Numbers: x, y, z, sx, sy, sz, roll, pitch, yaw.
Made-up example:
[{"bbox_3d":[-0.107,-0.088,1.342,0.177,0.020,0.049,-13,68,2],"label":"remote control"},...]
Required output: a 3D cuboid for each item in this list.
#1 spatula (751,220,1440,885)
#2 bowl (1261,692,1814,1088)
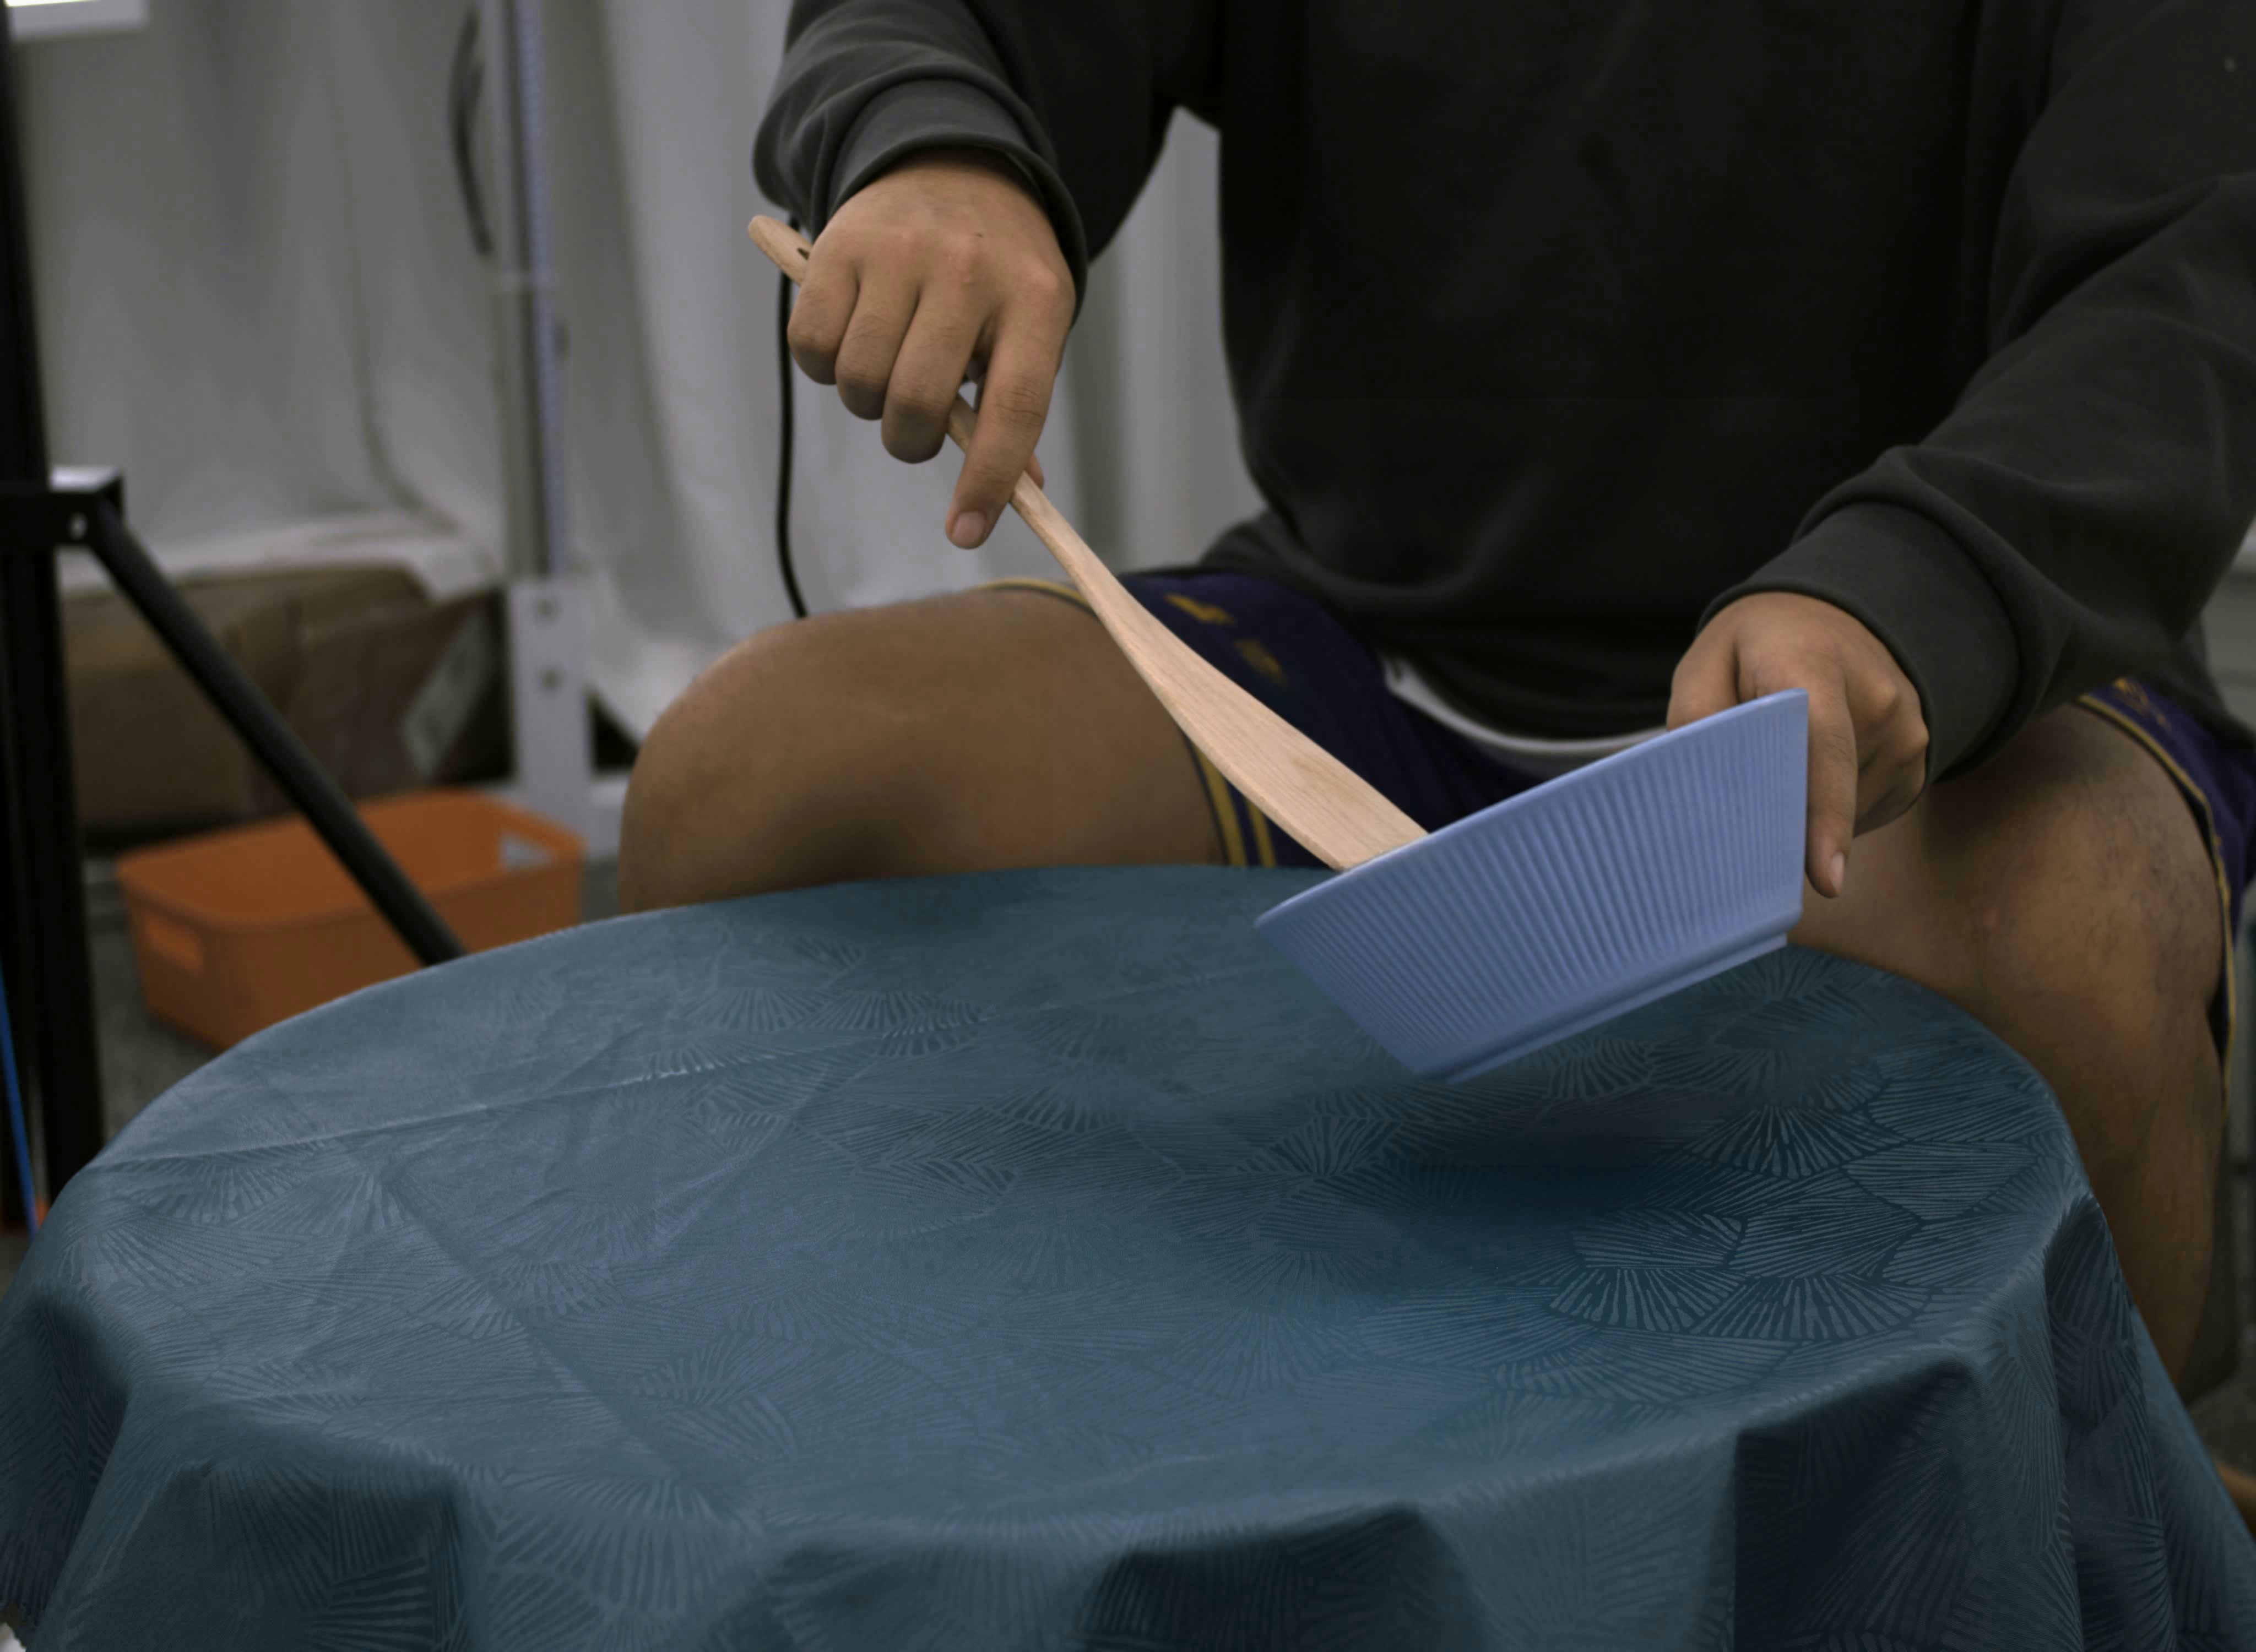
[{"bbox_3d":[-0.012,-0.084,1.629,0.333,0.016,0.078,48,23,26],"label":"spatula"},{"bbox_3d":[0.132,0.025,1.552,0.175,0.071,0.176,-23,-4,-4],"label":"bowl"}]
